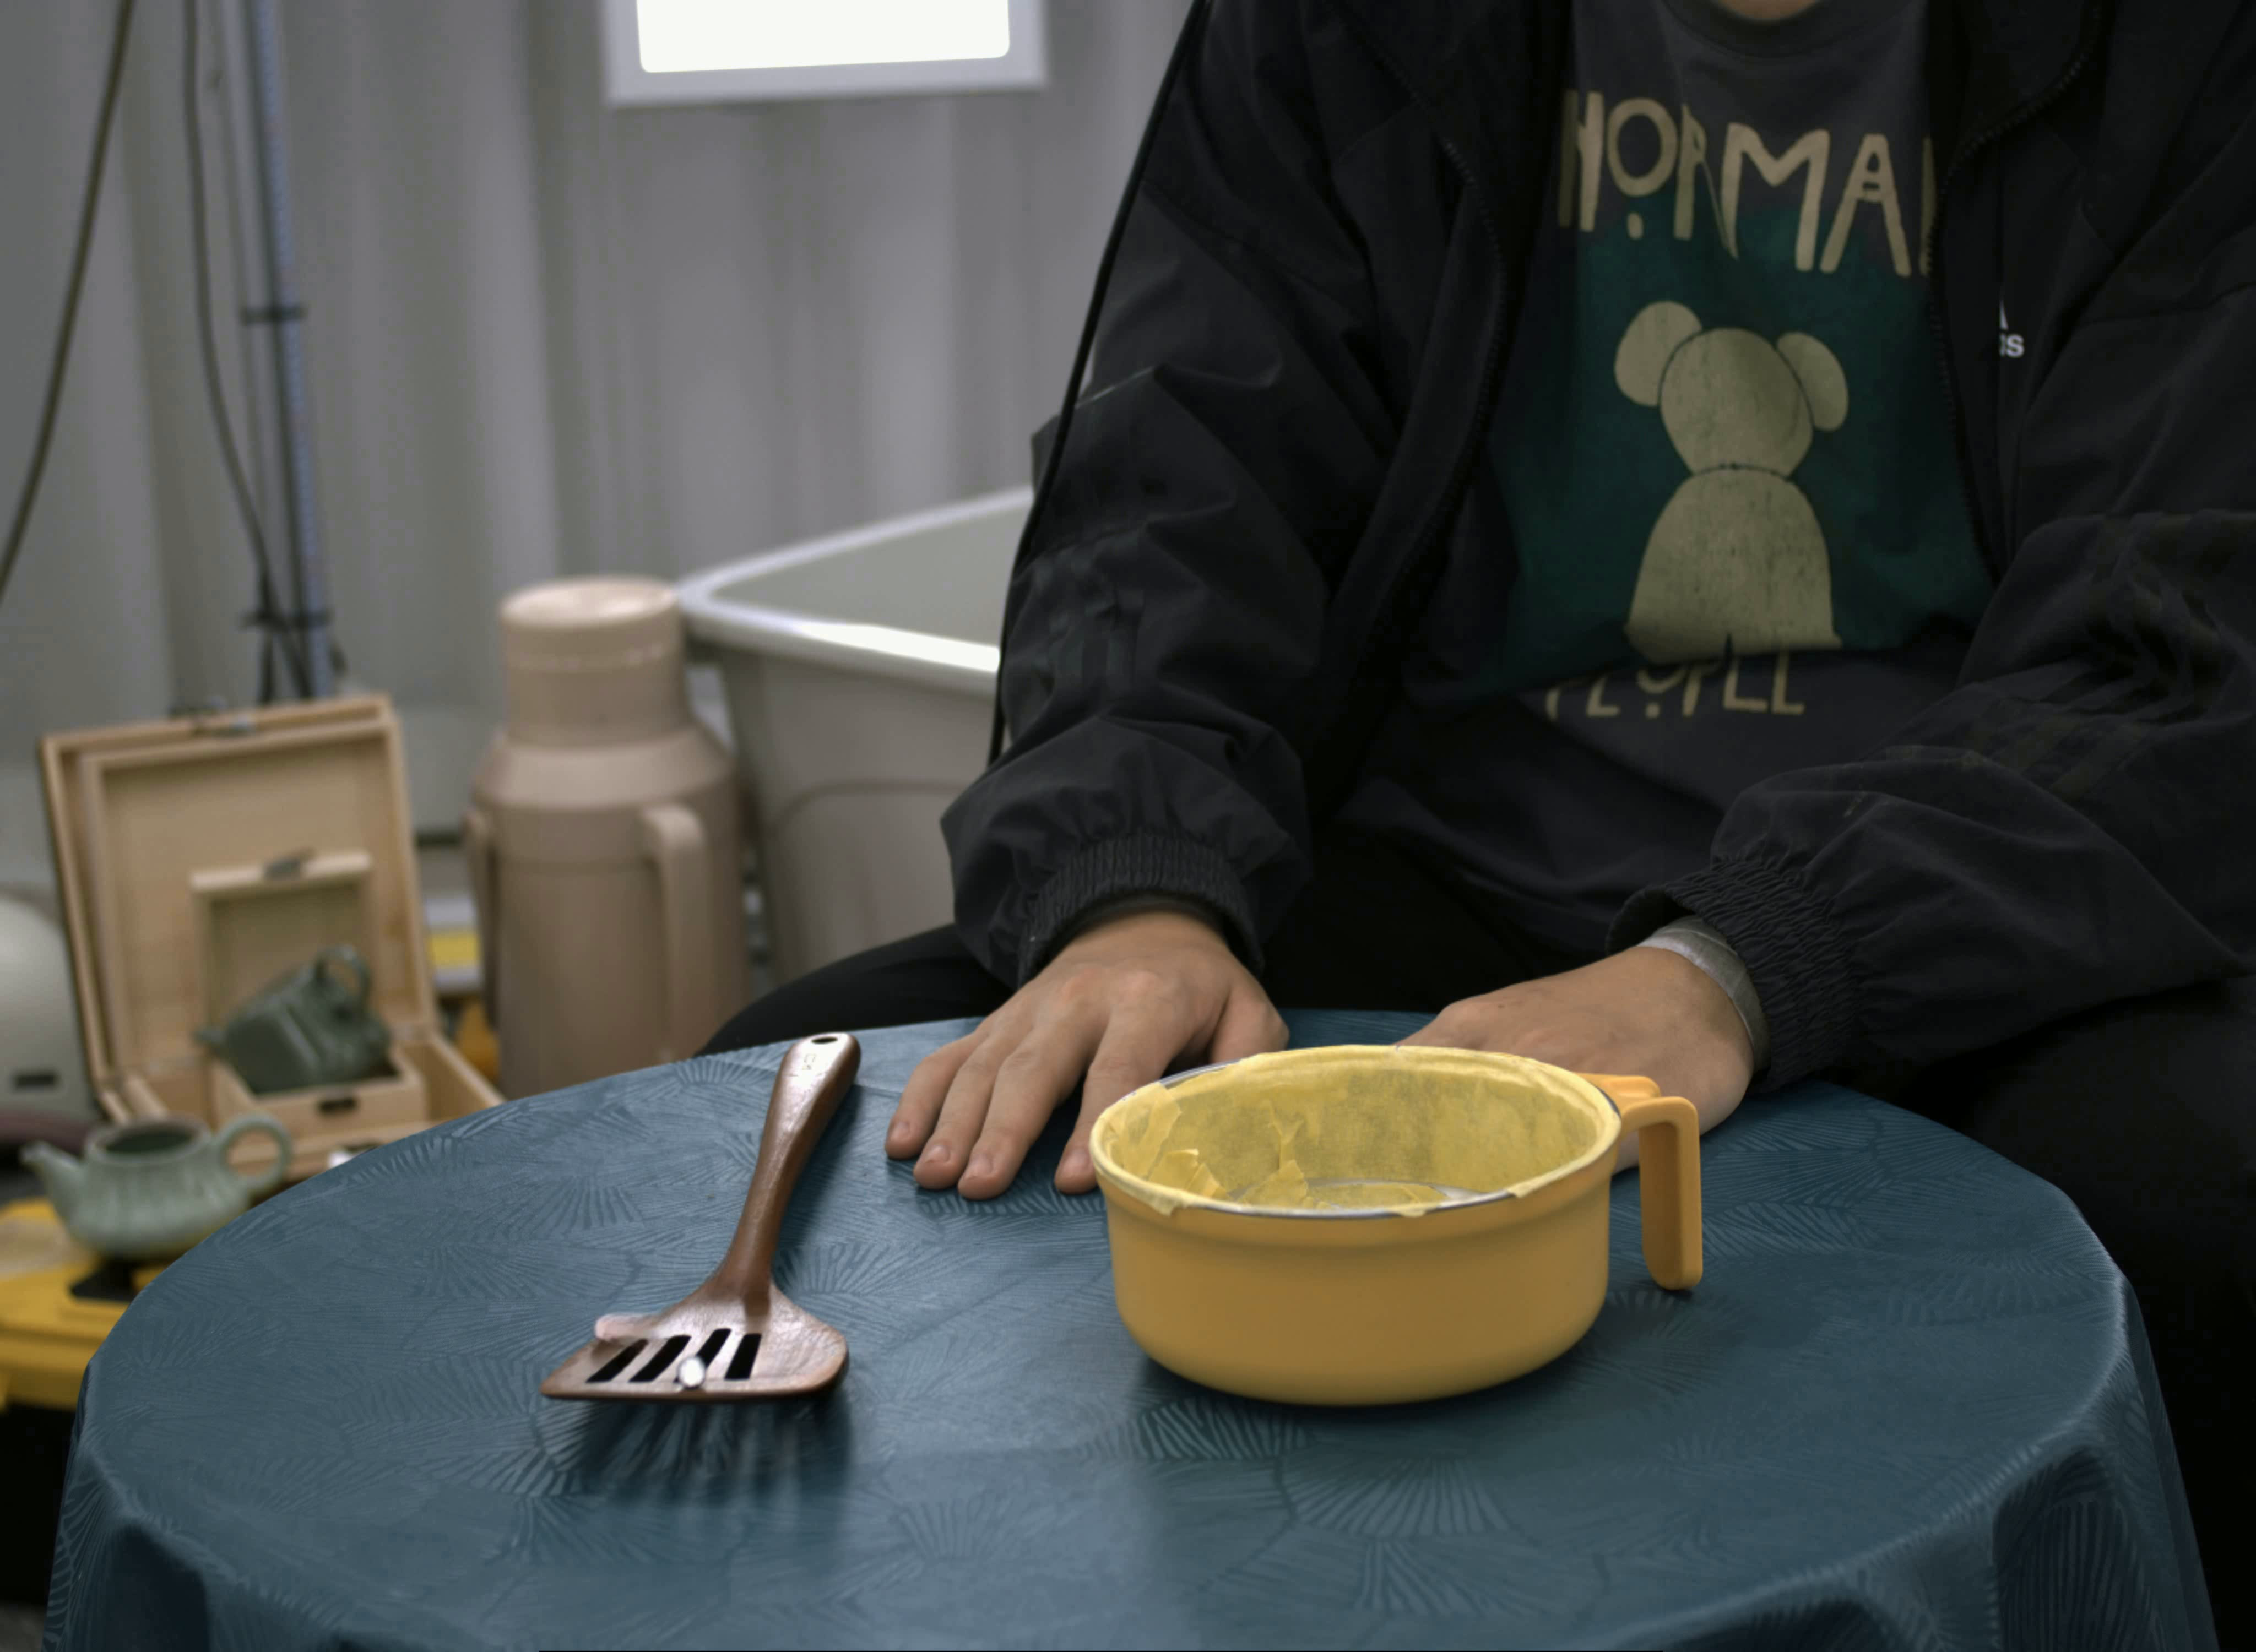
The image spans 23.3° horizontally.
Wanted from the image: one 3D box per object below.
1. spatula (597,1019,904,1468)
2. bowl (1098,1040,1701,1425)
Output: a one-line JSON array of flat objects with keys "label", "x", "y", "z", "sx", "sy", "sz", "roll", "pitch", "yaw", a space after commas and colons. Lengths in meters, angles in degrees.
[{"label": "spatula", "x": -0.123, "y": 0.127, "z": 1.677, "sx": 0.085, "sy": 0.024, "sz": 0.390, "roll": 4, "pitch": 16, "yaw": -8}, {"label": "bowl", "x": 0.081, "y": 0.117, "z": 1.569, "sx": 0.178, "sy": 0.074, "sz": 0.154, "roll": -10, "pitch": 17, "yaw": -25}]
